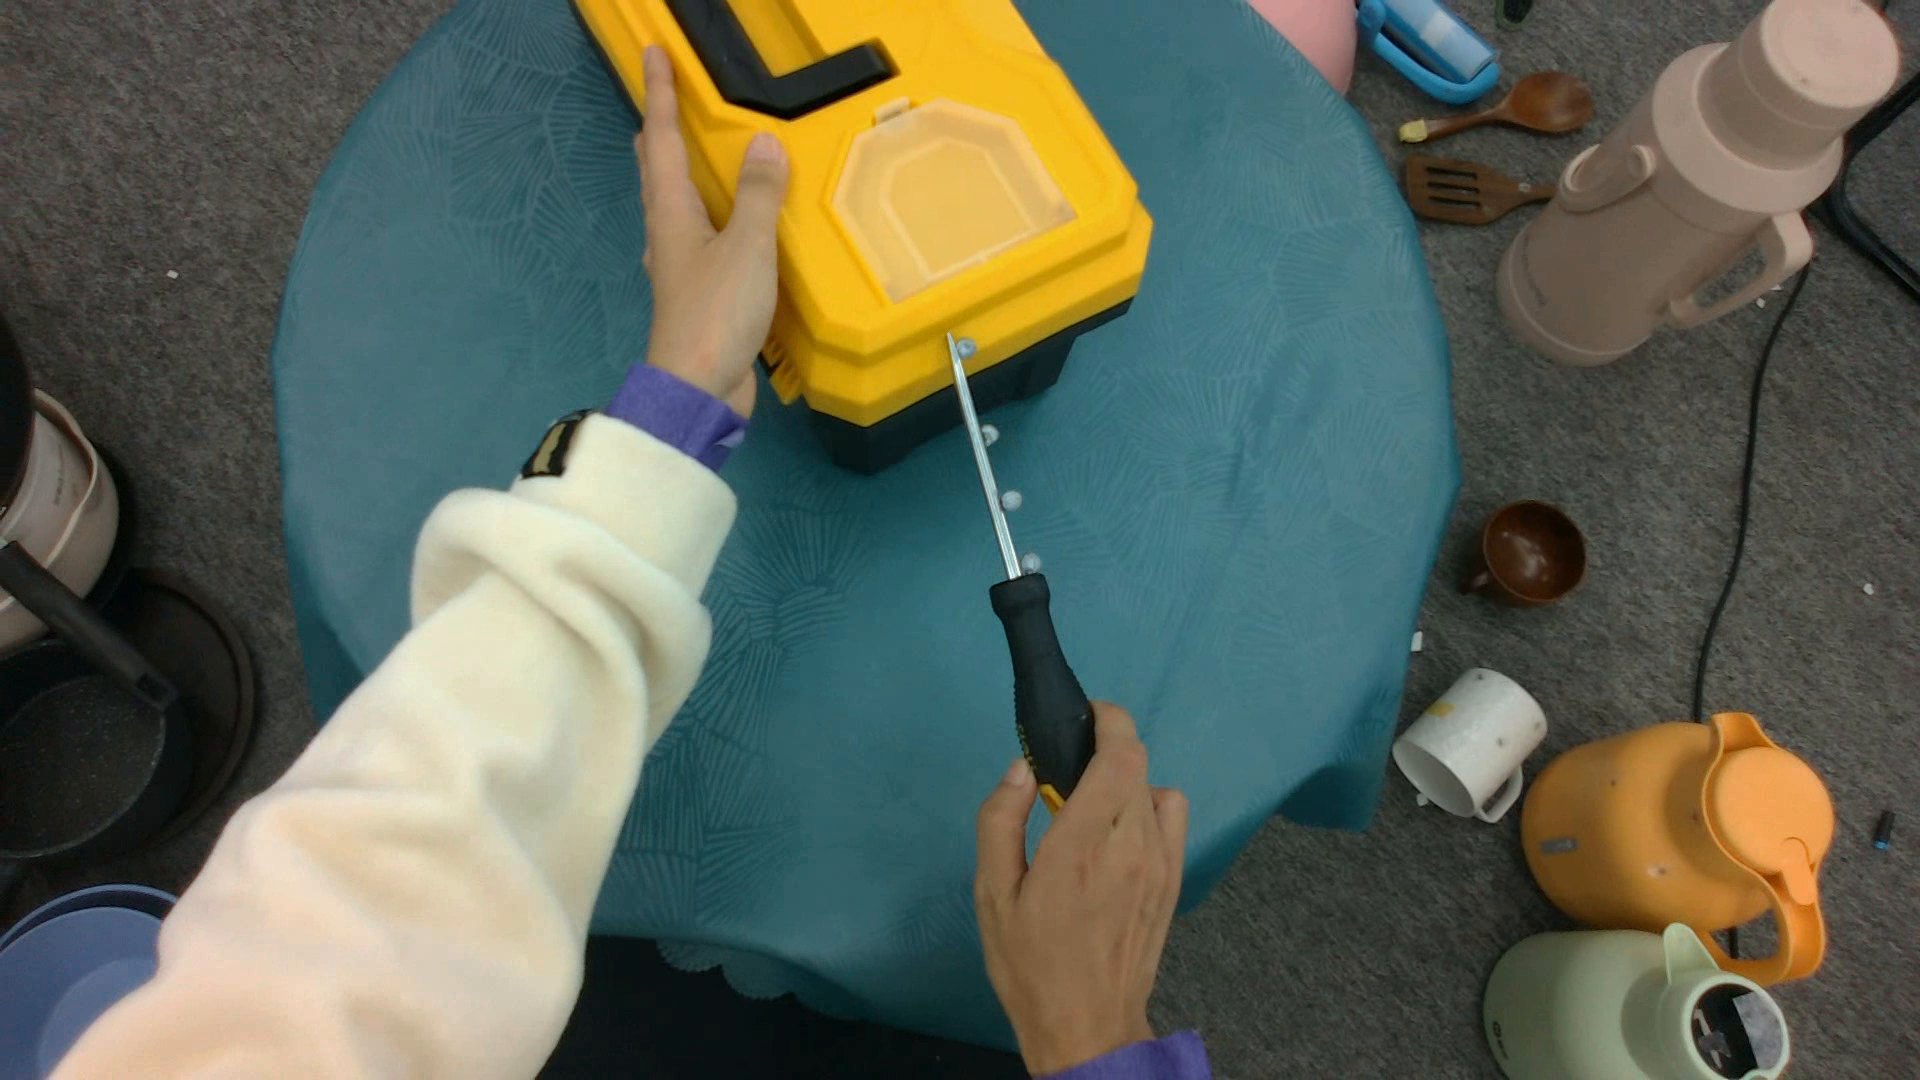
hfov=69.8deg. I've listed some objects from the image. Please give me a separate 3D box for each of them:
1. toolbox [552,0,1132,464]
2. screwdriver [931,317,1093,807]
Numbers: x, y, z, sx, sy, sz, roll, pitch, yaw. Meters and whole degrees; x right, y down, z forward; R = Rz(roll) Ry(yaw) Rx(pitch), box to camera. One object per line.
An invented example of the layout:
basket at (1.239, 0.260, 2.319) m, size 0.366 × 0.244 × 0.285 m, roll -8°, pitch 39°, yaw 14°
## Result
toolbox at (-0.080, -0.219, 0.649) m, size 0.181 × 0.172 × 0.352 m, roll -27°, pitch 77°, yaw -13°
screwdriver at (0.016, 0.008, 0.541) m, size 0.031 × 0.031 × 0.198 m, roll -15°, pitch 85°, yaw -10°
